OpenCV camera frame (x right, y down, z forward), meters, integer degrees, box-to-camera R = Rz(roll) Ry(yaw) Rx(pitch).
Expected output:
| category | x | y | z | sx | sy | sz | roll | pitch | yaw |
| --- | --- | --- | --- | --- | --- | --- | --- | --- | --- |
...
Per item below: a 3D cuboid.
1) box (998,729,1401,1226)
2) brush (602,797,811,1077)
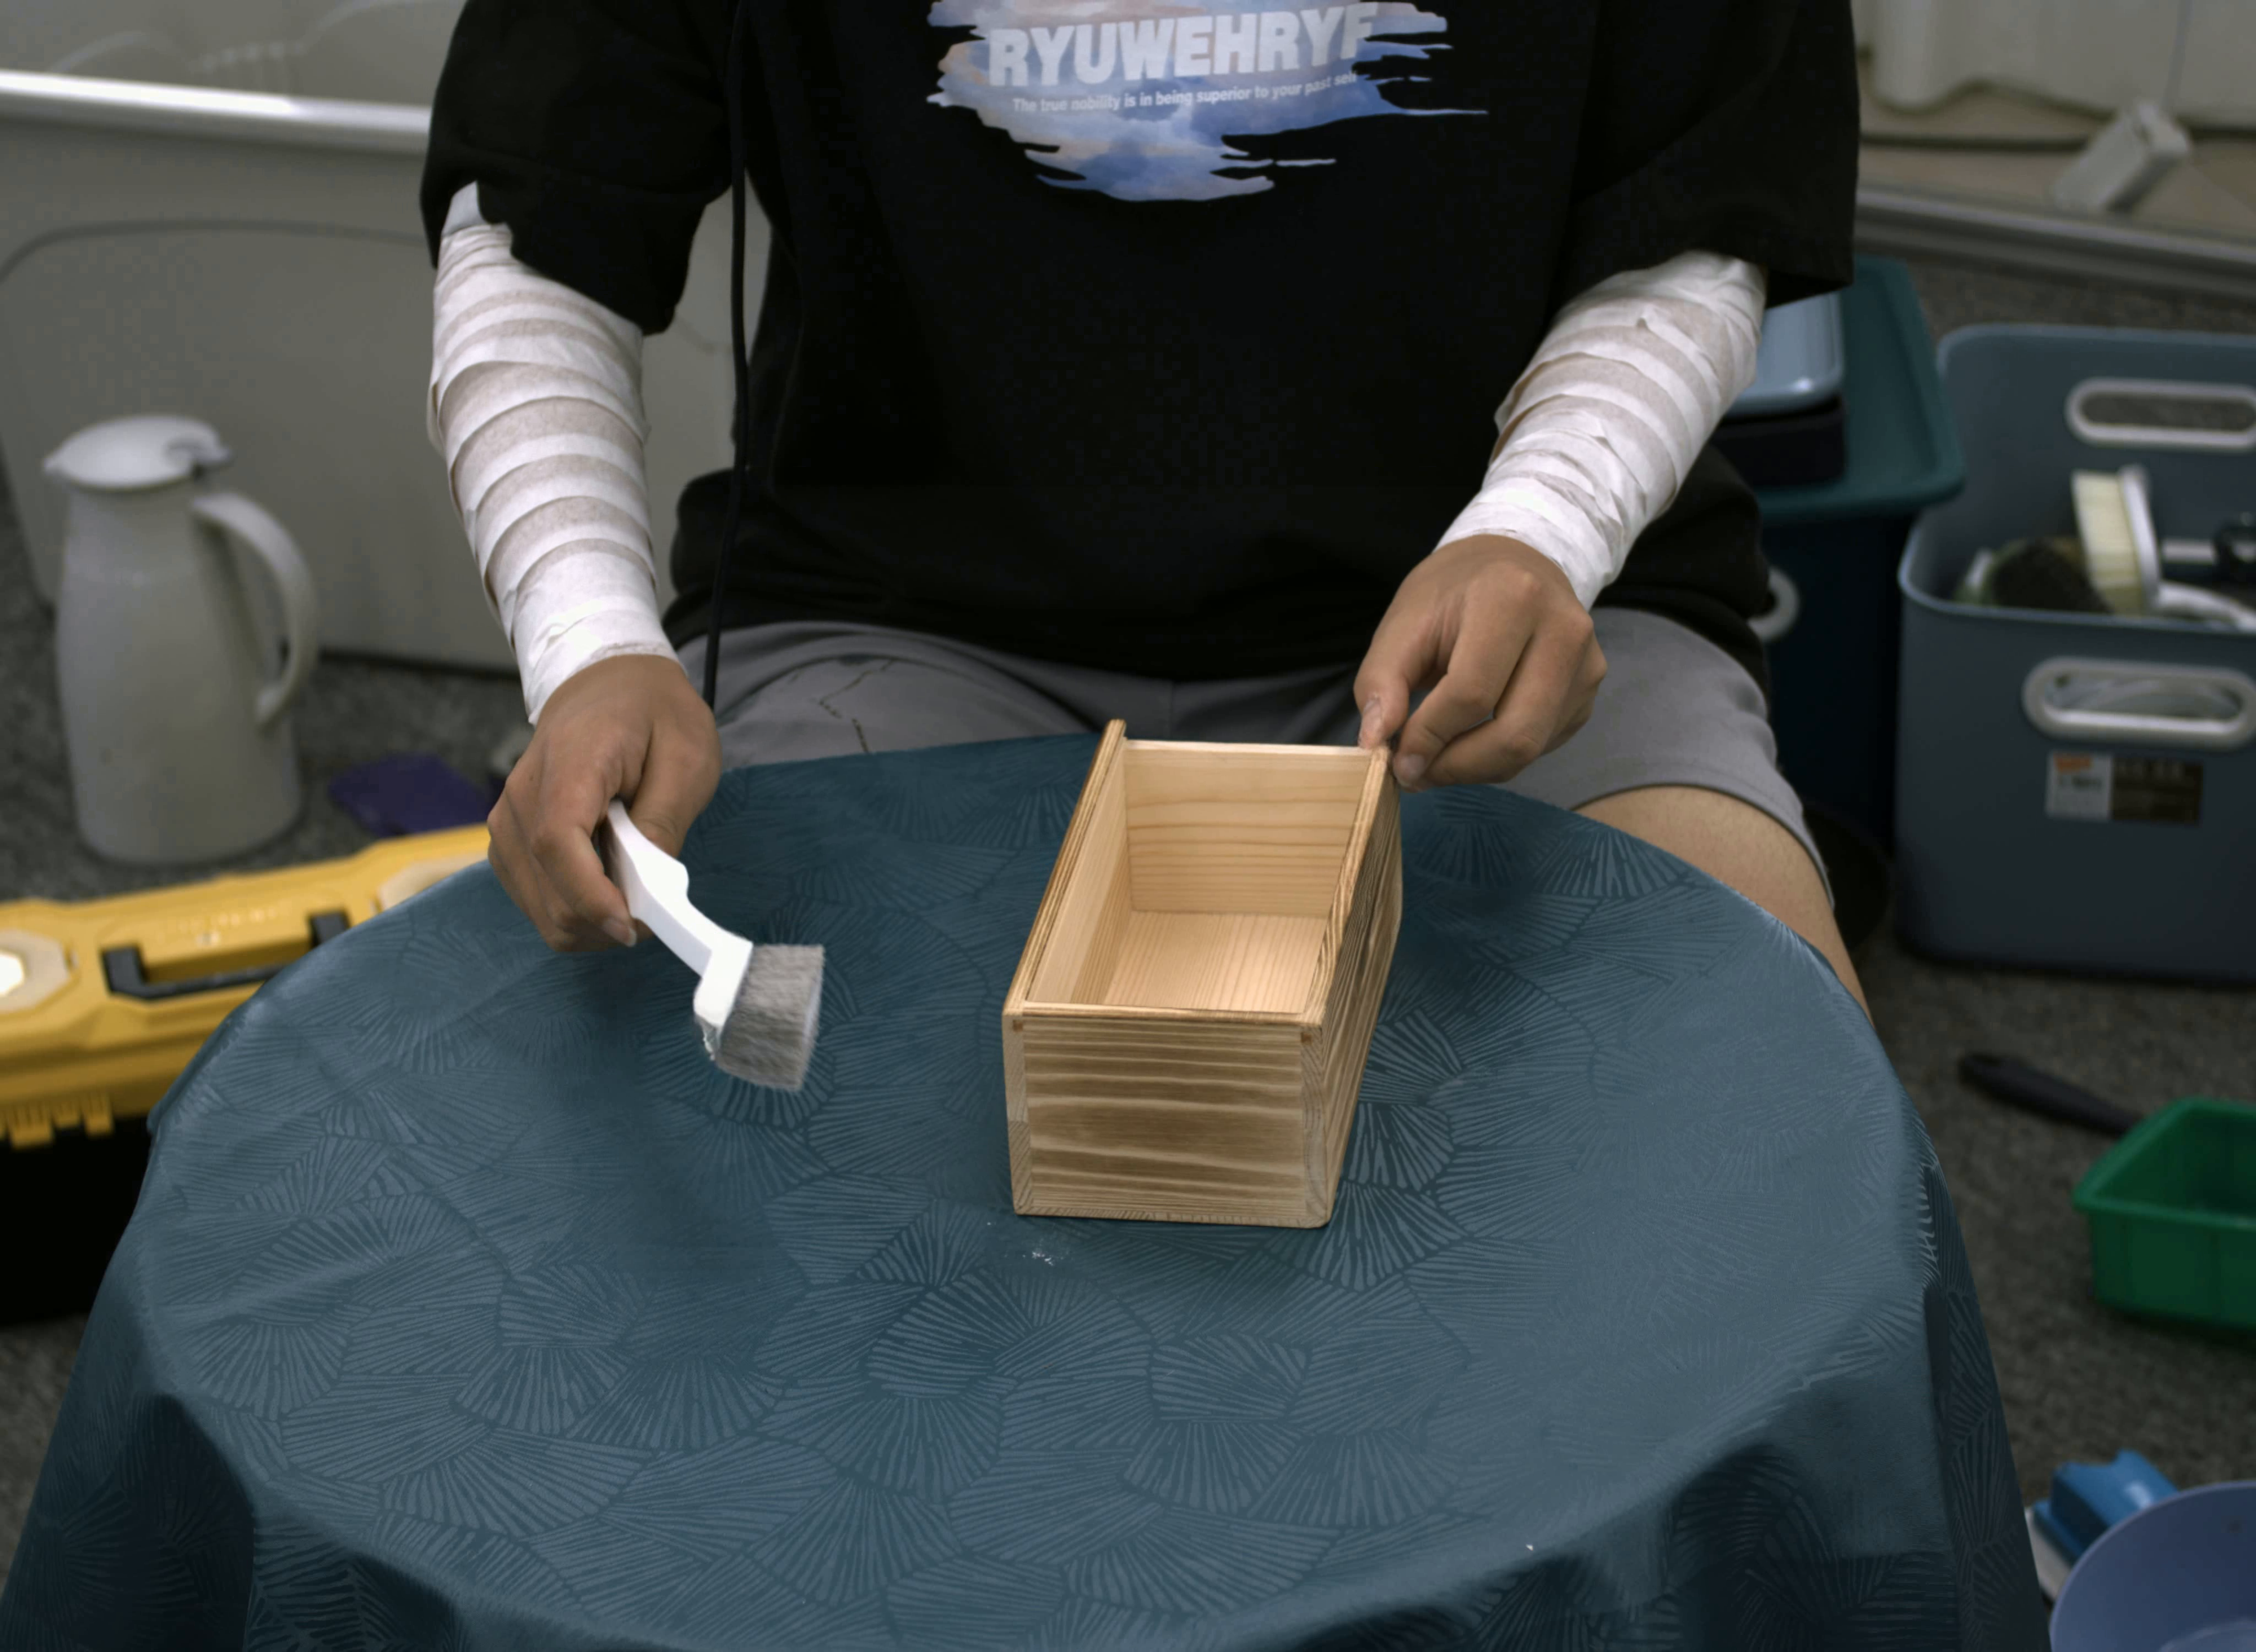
| category | x | y | z | sx | sy | sz | roll | pitch | yaw |
| --- | --- | --- | --- | --- | --- | --- | --- | --- | --- |
| box | 0.028 | 0.048 | 1.917 | 0.107 | 0.079 | 0.215 | 1 | 26 | 9 |
| brush | -0.141 | 0.033 | 1.891 | 0.050 | 0.034 | 0.245 | 2 | 15 | -13 |
